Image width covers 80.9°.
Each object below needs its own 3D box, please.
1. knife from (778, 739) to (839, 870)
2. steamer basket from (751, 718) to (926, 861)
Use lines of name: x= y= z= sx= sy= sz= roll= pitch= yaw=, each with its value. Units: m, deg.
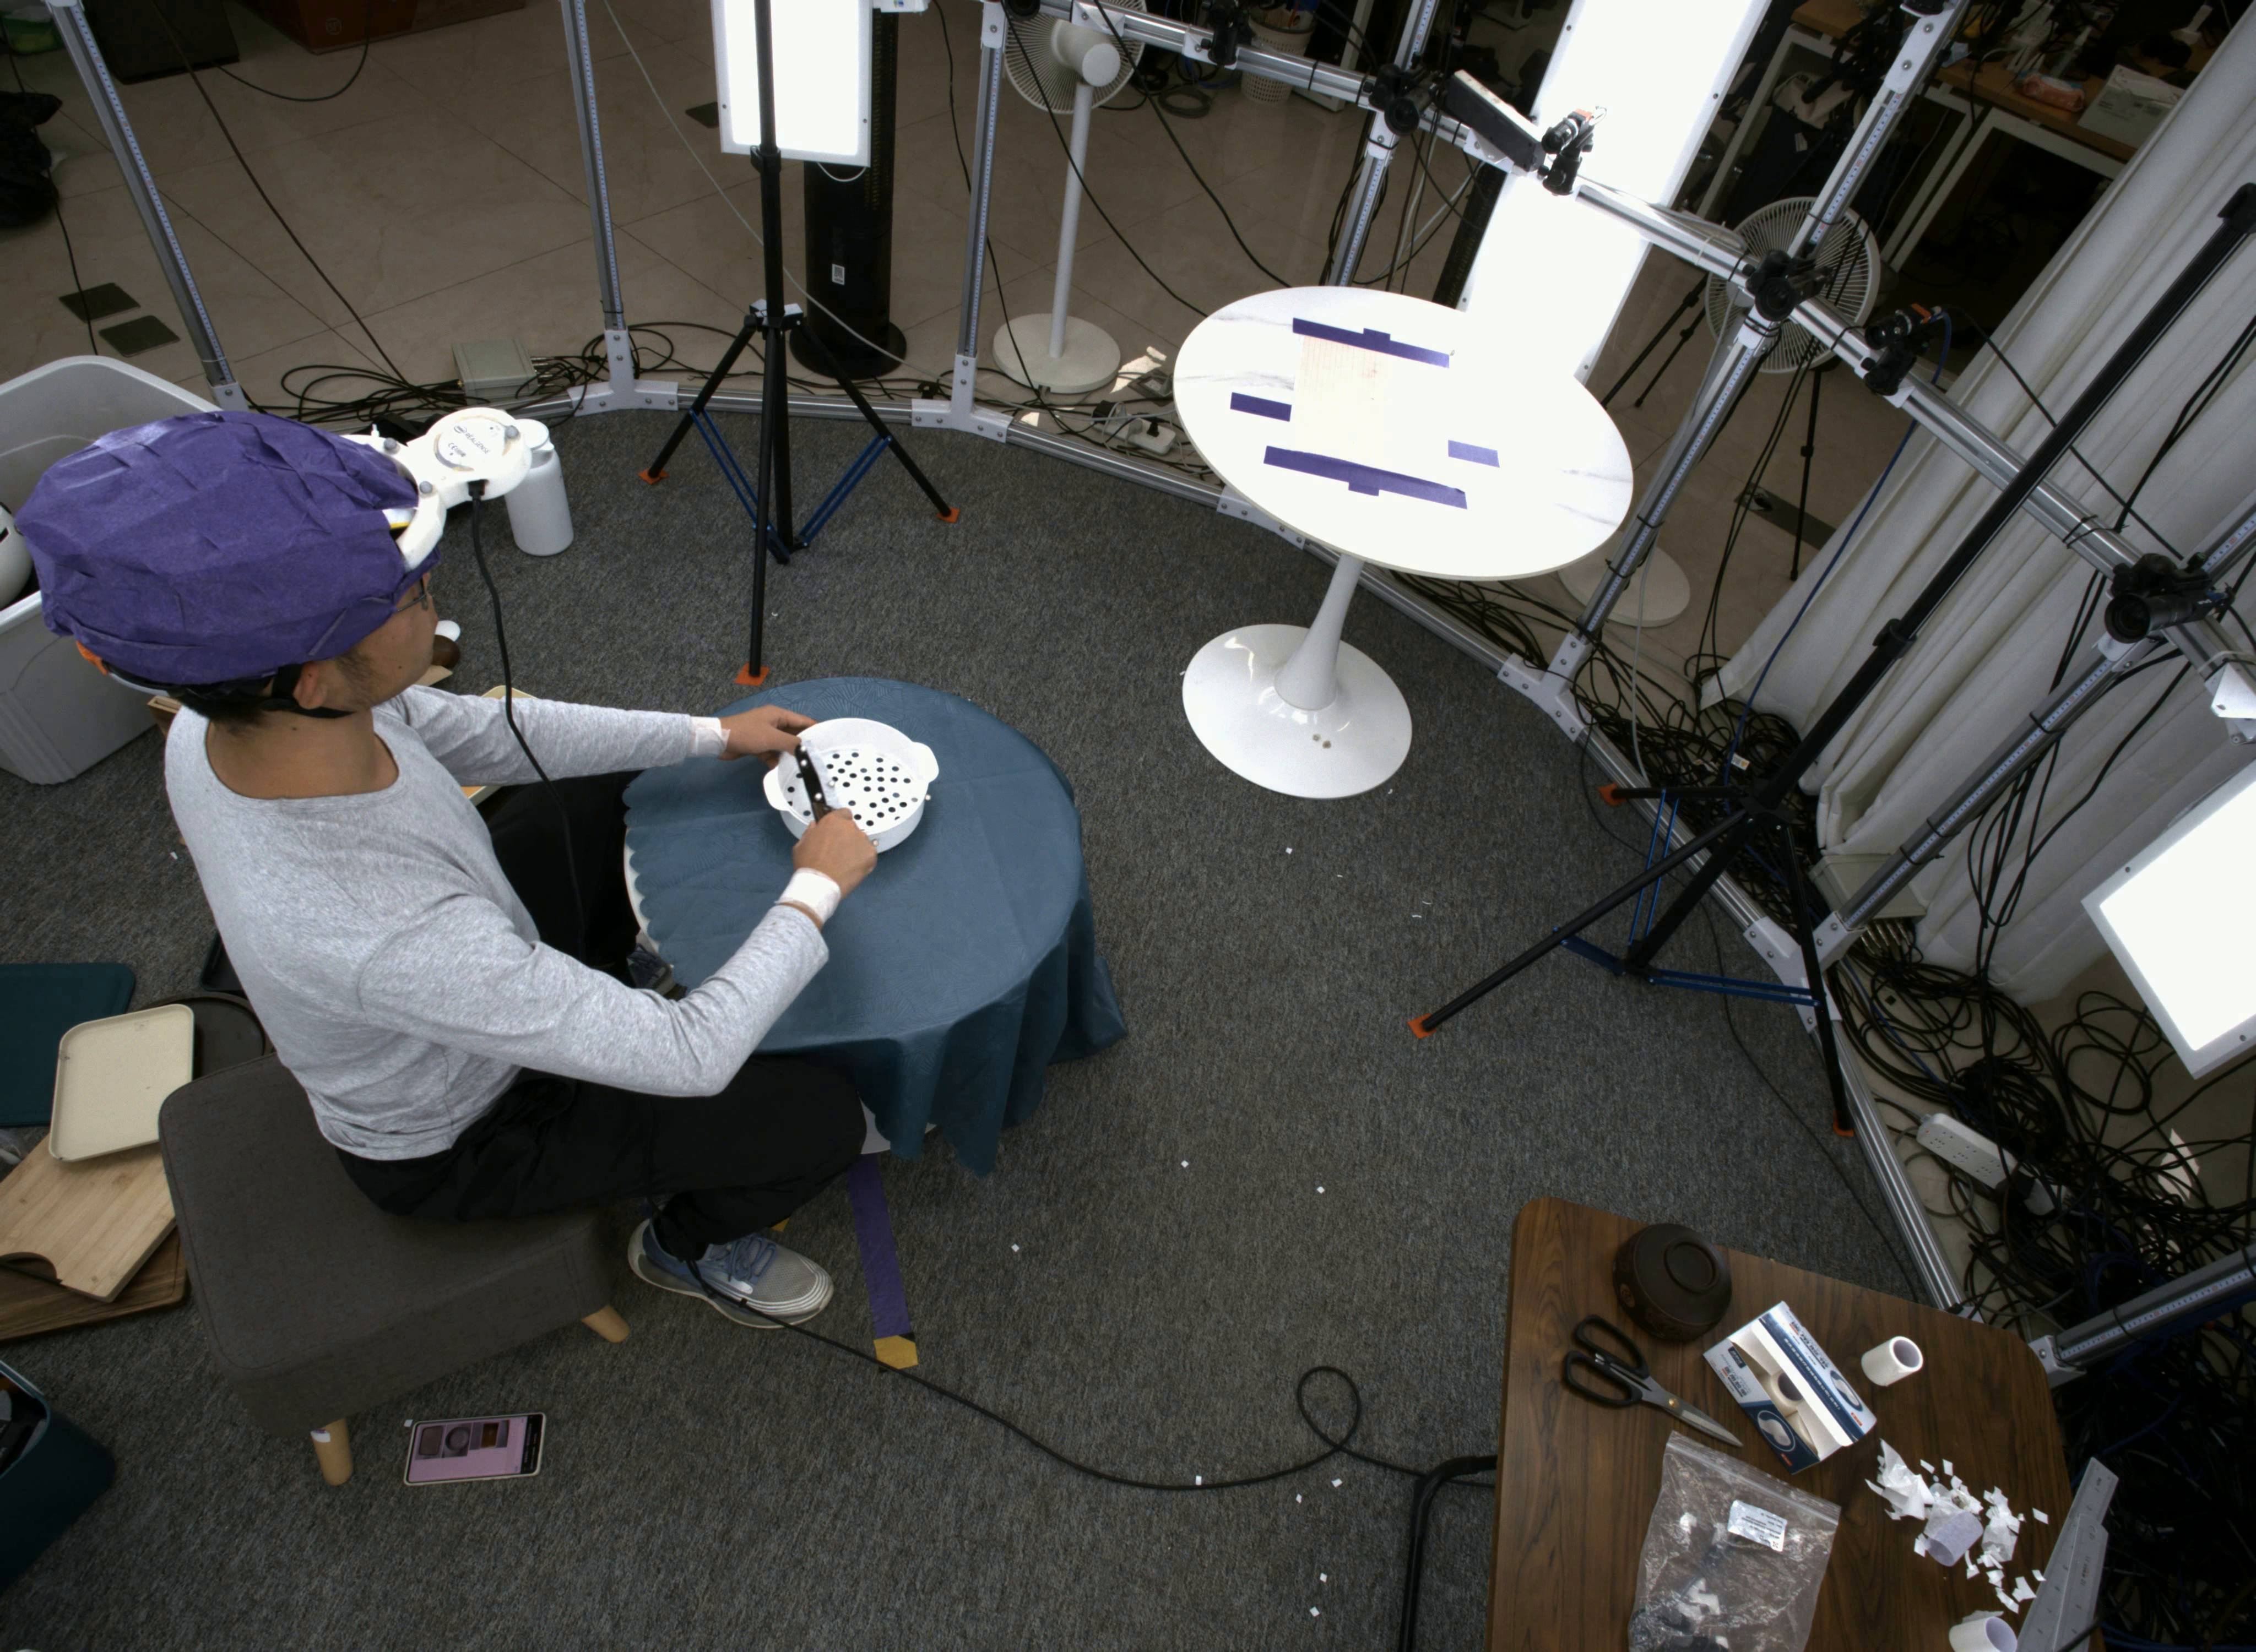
knife: x=-0.398 y=-0.036 z=1.612 sx=0.051 sy=0.020 sz=0.279 roll=15 pitch=28 yaw=-34
steamer basket: x=-0.385 y=-0.049 z=1.739 sx=0.231 sy=0.070 sz=0.197 roll=-14 pitch=58 yaw=-22
